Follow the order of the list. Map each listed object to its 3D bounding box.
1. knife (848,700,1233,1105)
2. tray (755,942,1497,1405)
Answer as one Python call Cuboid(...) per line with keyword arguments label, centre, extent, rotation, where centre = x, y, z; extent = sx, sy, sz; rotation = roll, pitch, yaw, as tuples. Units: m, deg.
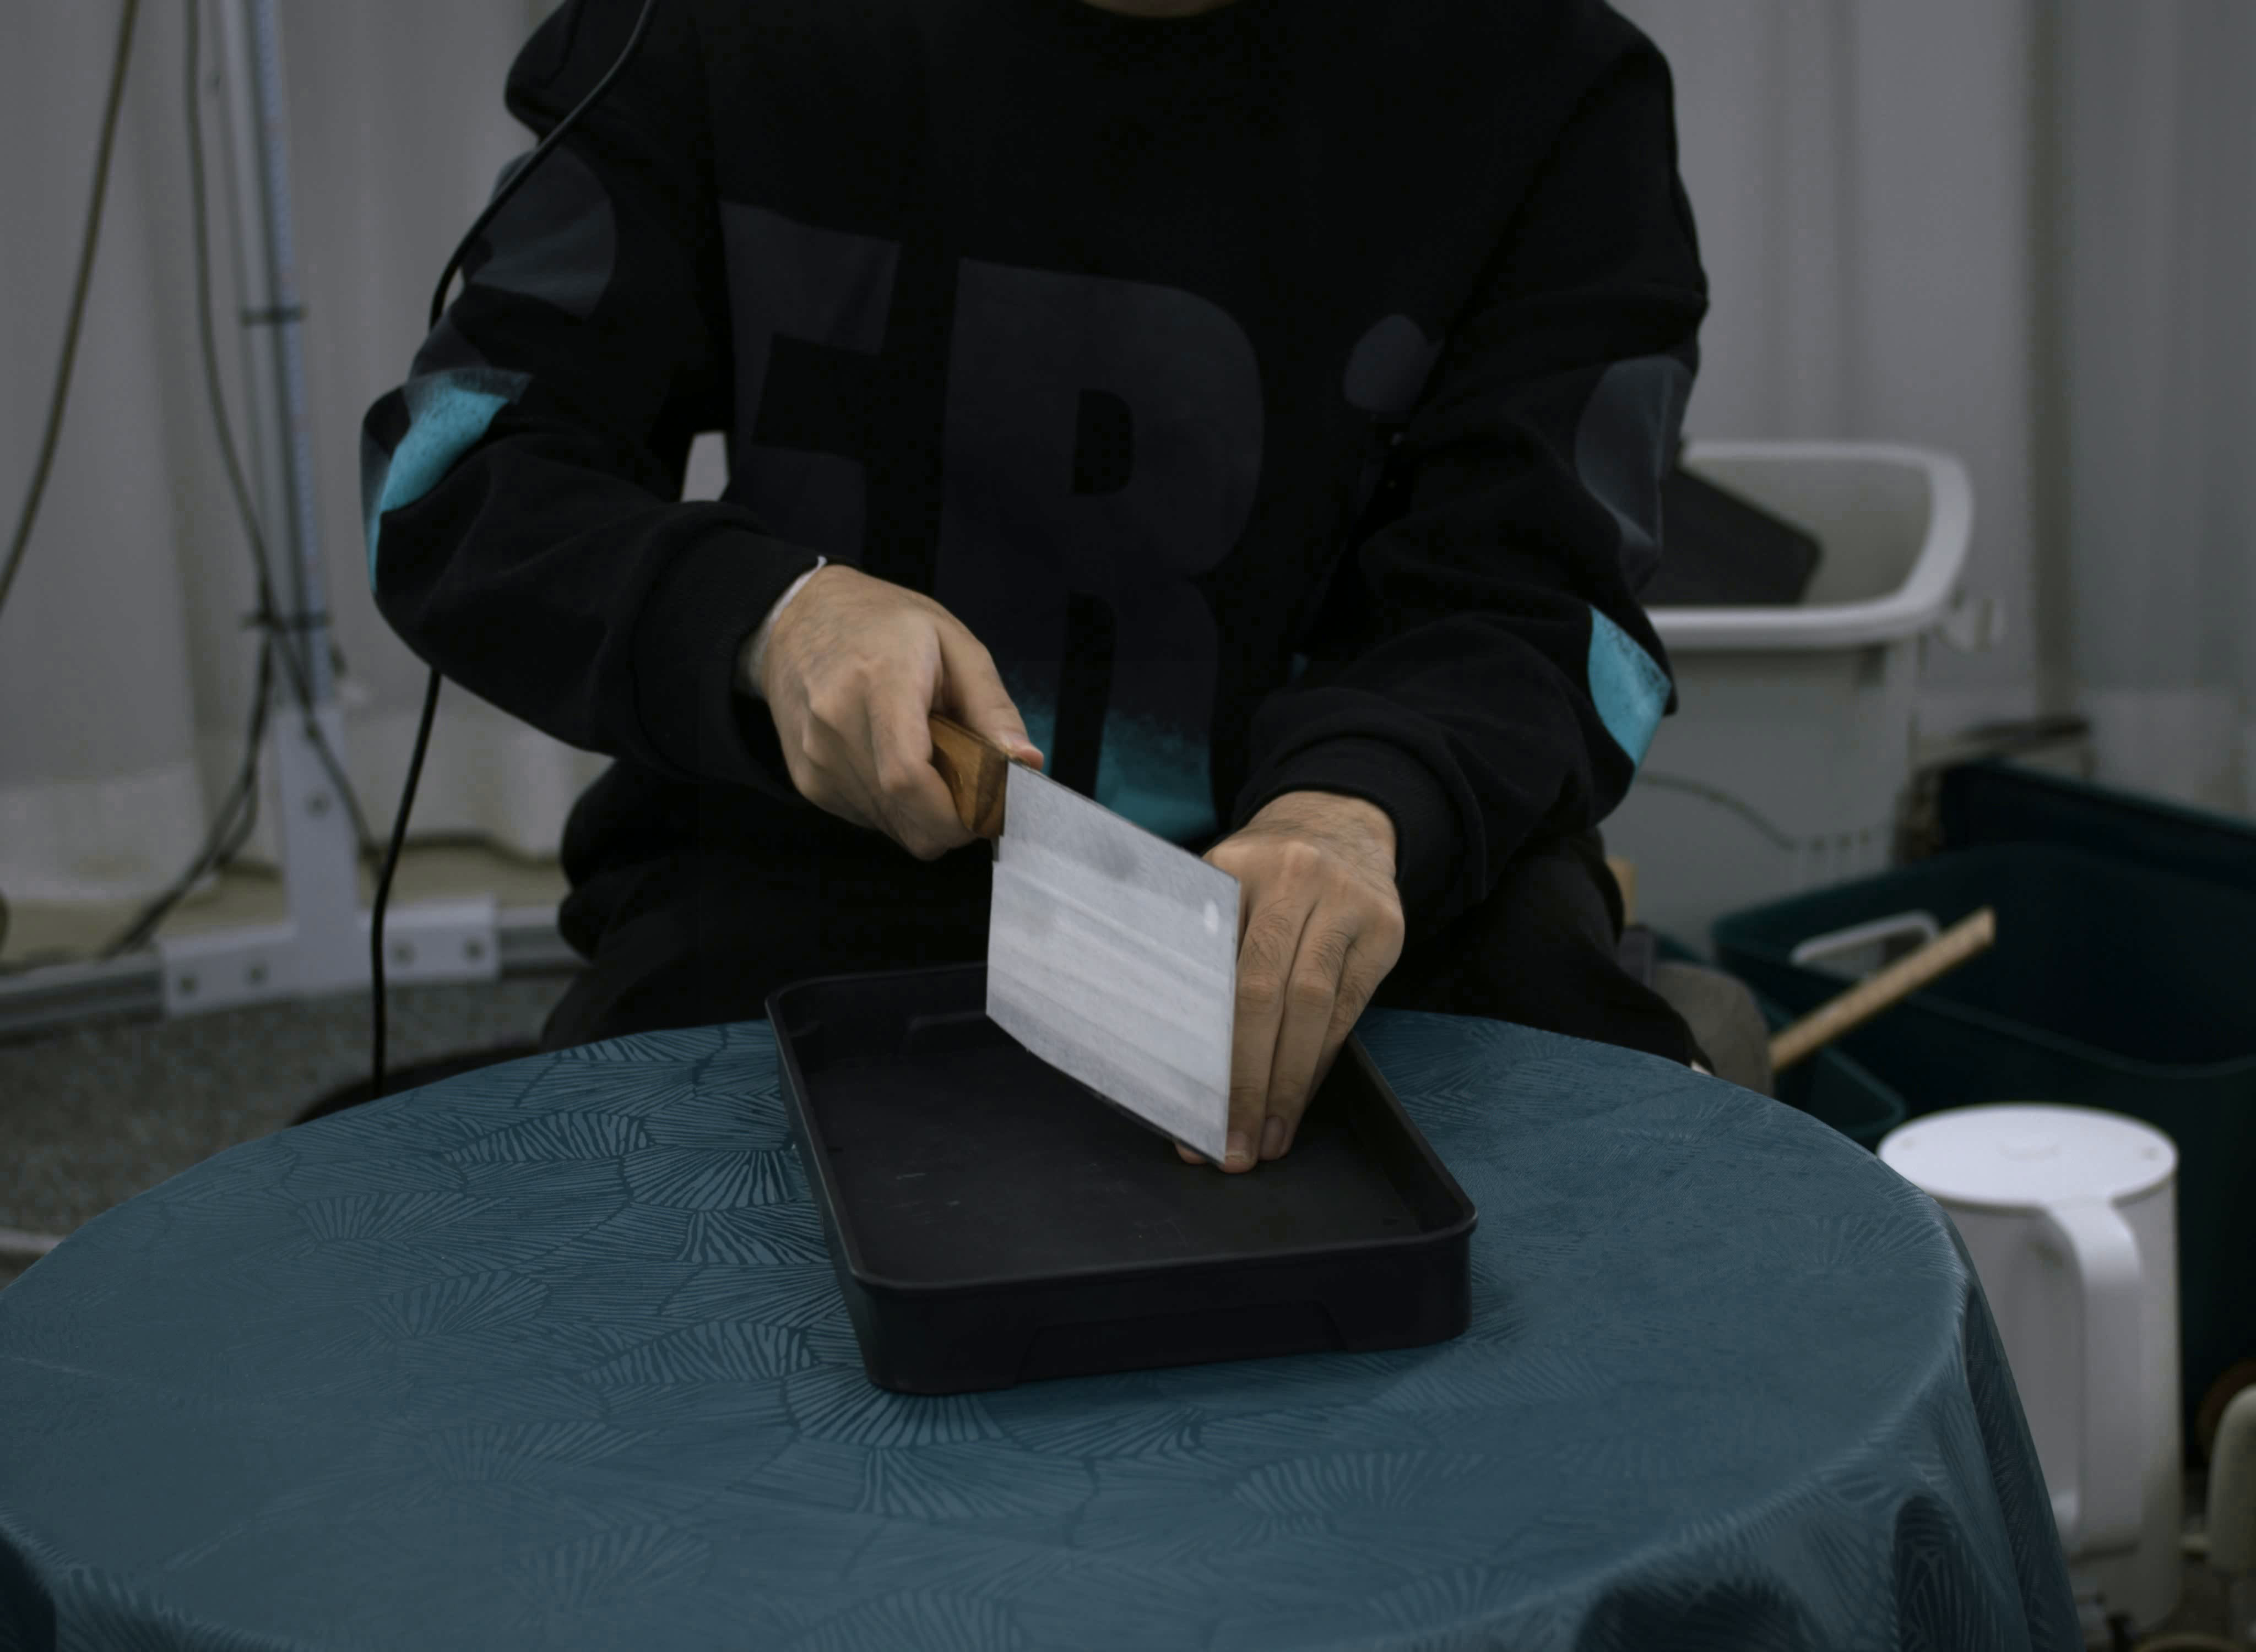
Cuboid(label="knife", centre=(-0.030, 0.024, 1.759), extent=(0.021, 0.093, 0.308), rotation=(-2, 13, -23))
Cuboid(label="tray", centre=(-0.008, 0.102, 1.696), extent=(0.183, 0.037, 0.320), rotation=(-6, 15, -9))
